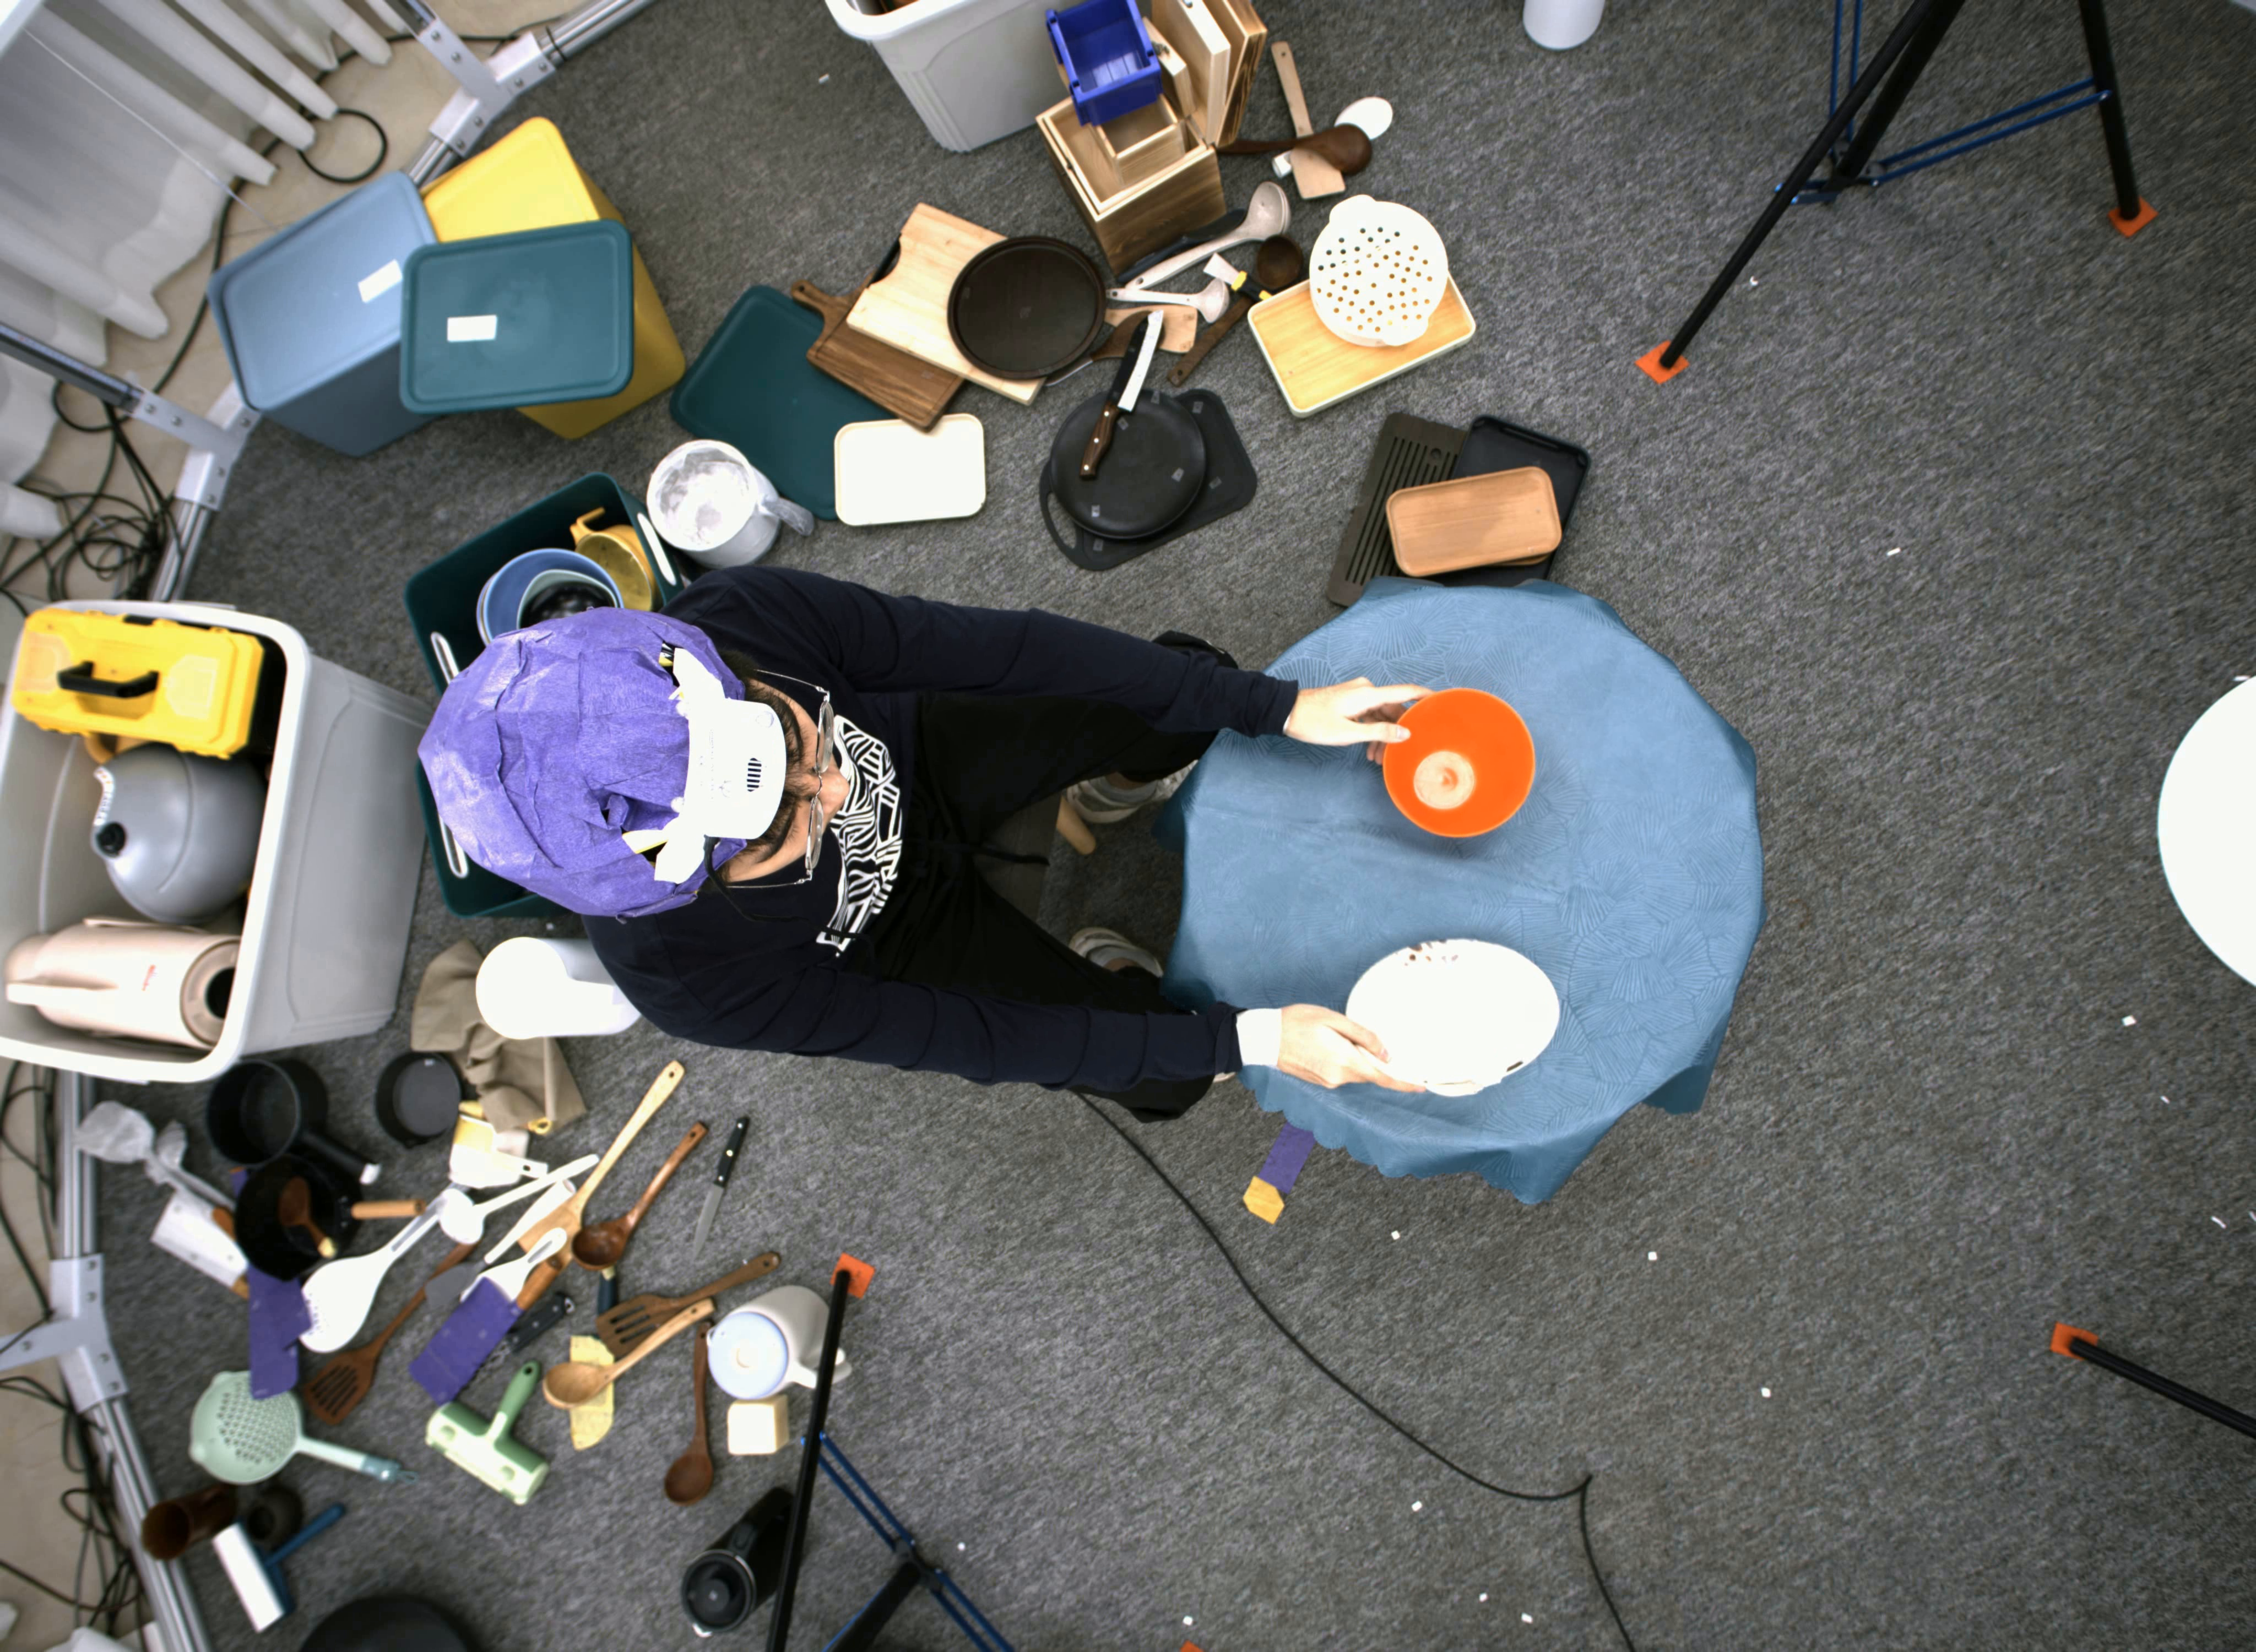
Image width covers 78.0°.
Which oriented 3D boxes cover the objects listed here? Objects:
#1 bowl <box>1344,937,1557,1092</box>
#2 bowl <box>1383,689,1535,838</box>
[{"bbox_3d":[0.319,0.202,1.362,0.205,0.198,0.079,-9,127,9],"label":"bowl"},{"bbox_3d":[0.336,-0.060,1.404,0.148,0.104,0.147,-1,87,12],"label":"bowl"}]
